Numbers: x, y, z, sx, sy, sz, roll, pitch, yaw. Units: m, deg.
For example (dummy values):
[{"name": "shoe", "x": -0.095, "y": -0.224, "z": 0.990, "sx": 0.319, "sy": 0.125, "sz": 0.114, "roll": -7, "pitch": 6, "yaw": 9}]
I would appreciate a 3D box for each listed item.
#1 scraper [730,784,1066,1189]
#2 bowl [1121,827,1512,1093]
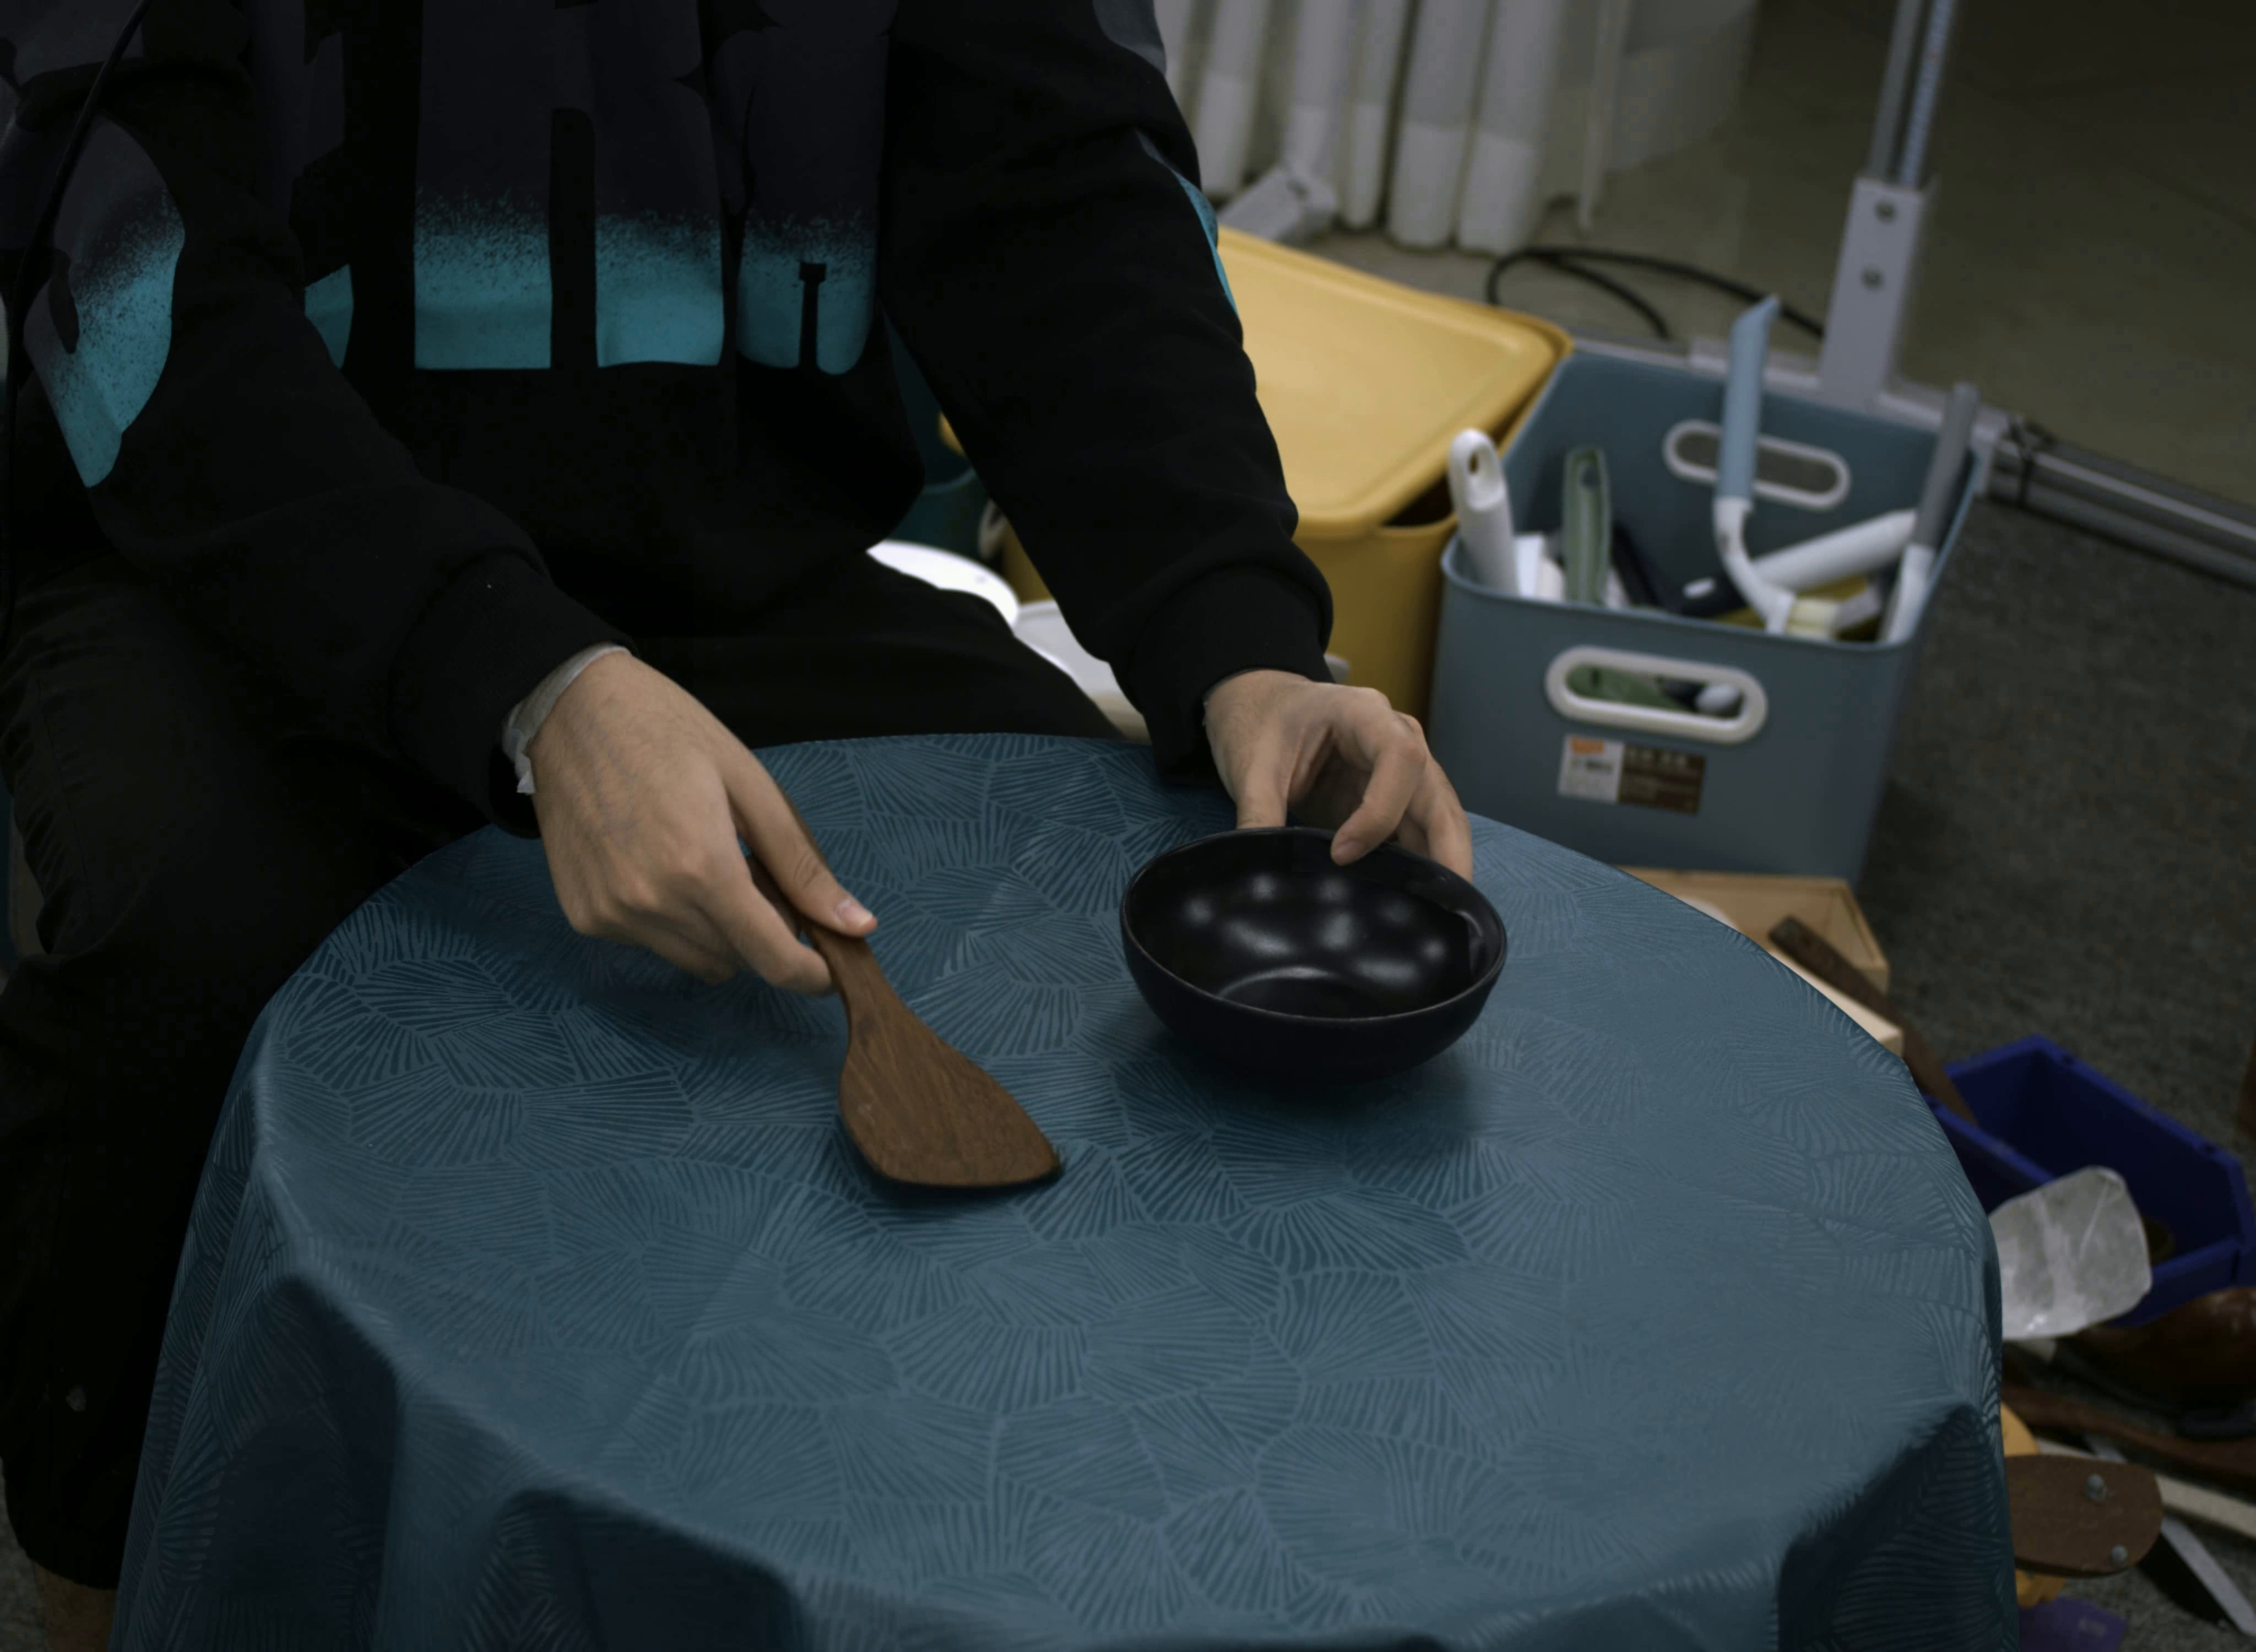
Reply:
[{"name": "scraper", "x": -0.091, "y": 0.055, "z": 1.851, "sx": 0.075, "sy": 0.011, "sz": 0.213, "roll": 2, "pitch": 39, "yaw": -33}, {"name": "bowl", "x": 0.066, "y": 0.055, "z": 1.895, "sx": 0.139, "sy": 0.049, "sz": 0.141, "roll": 2, "pitch": 30, "yaw": -1}]
